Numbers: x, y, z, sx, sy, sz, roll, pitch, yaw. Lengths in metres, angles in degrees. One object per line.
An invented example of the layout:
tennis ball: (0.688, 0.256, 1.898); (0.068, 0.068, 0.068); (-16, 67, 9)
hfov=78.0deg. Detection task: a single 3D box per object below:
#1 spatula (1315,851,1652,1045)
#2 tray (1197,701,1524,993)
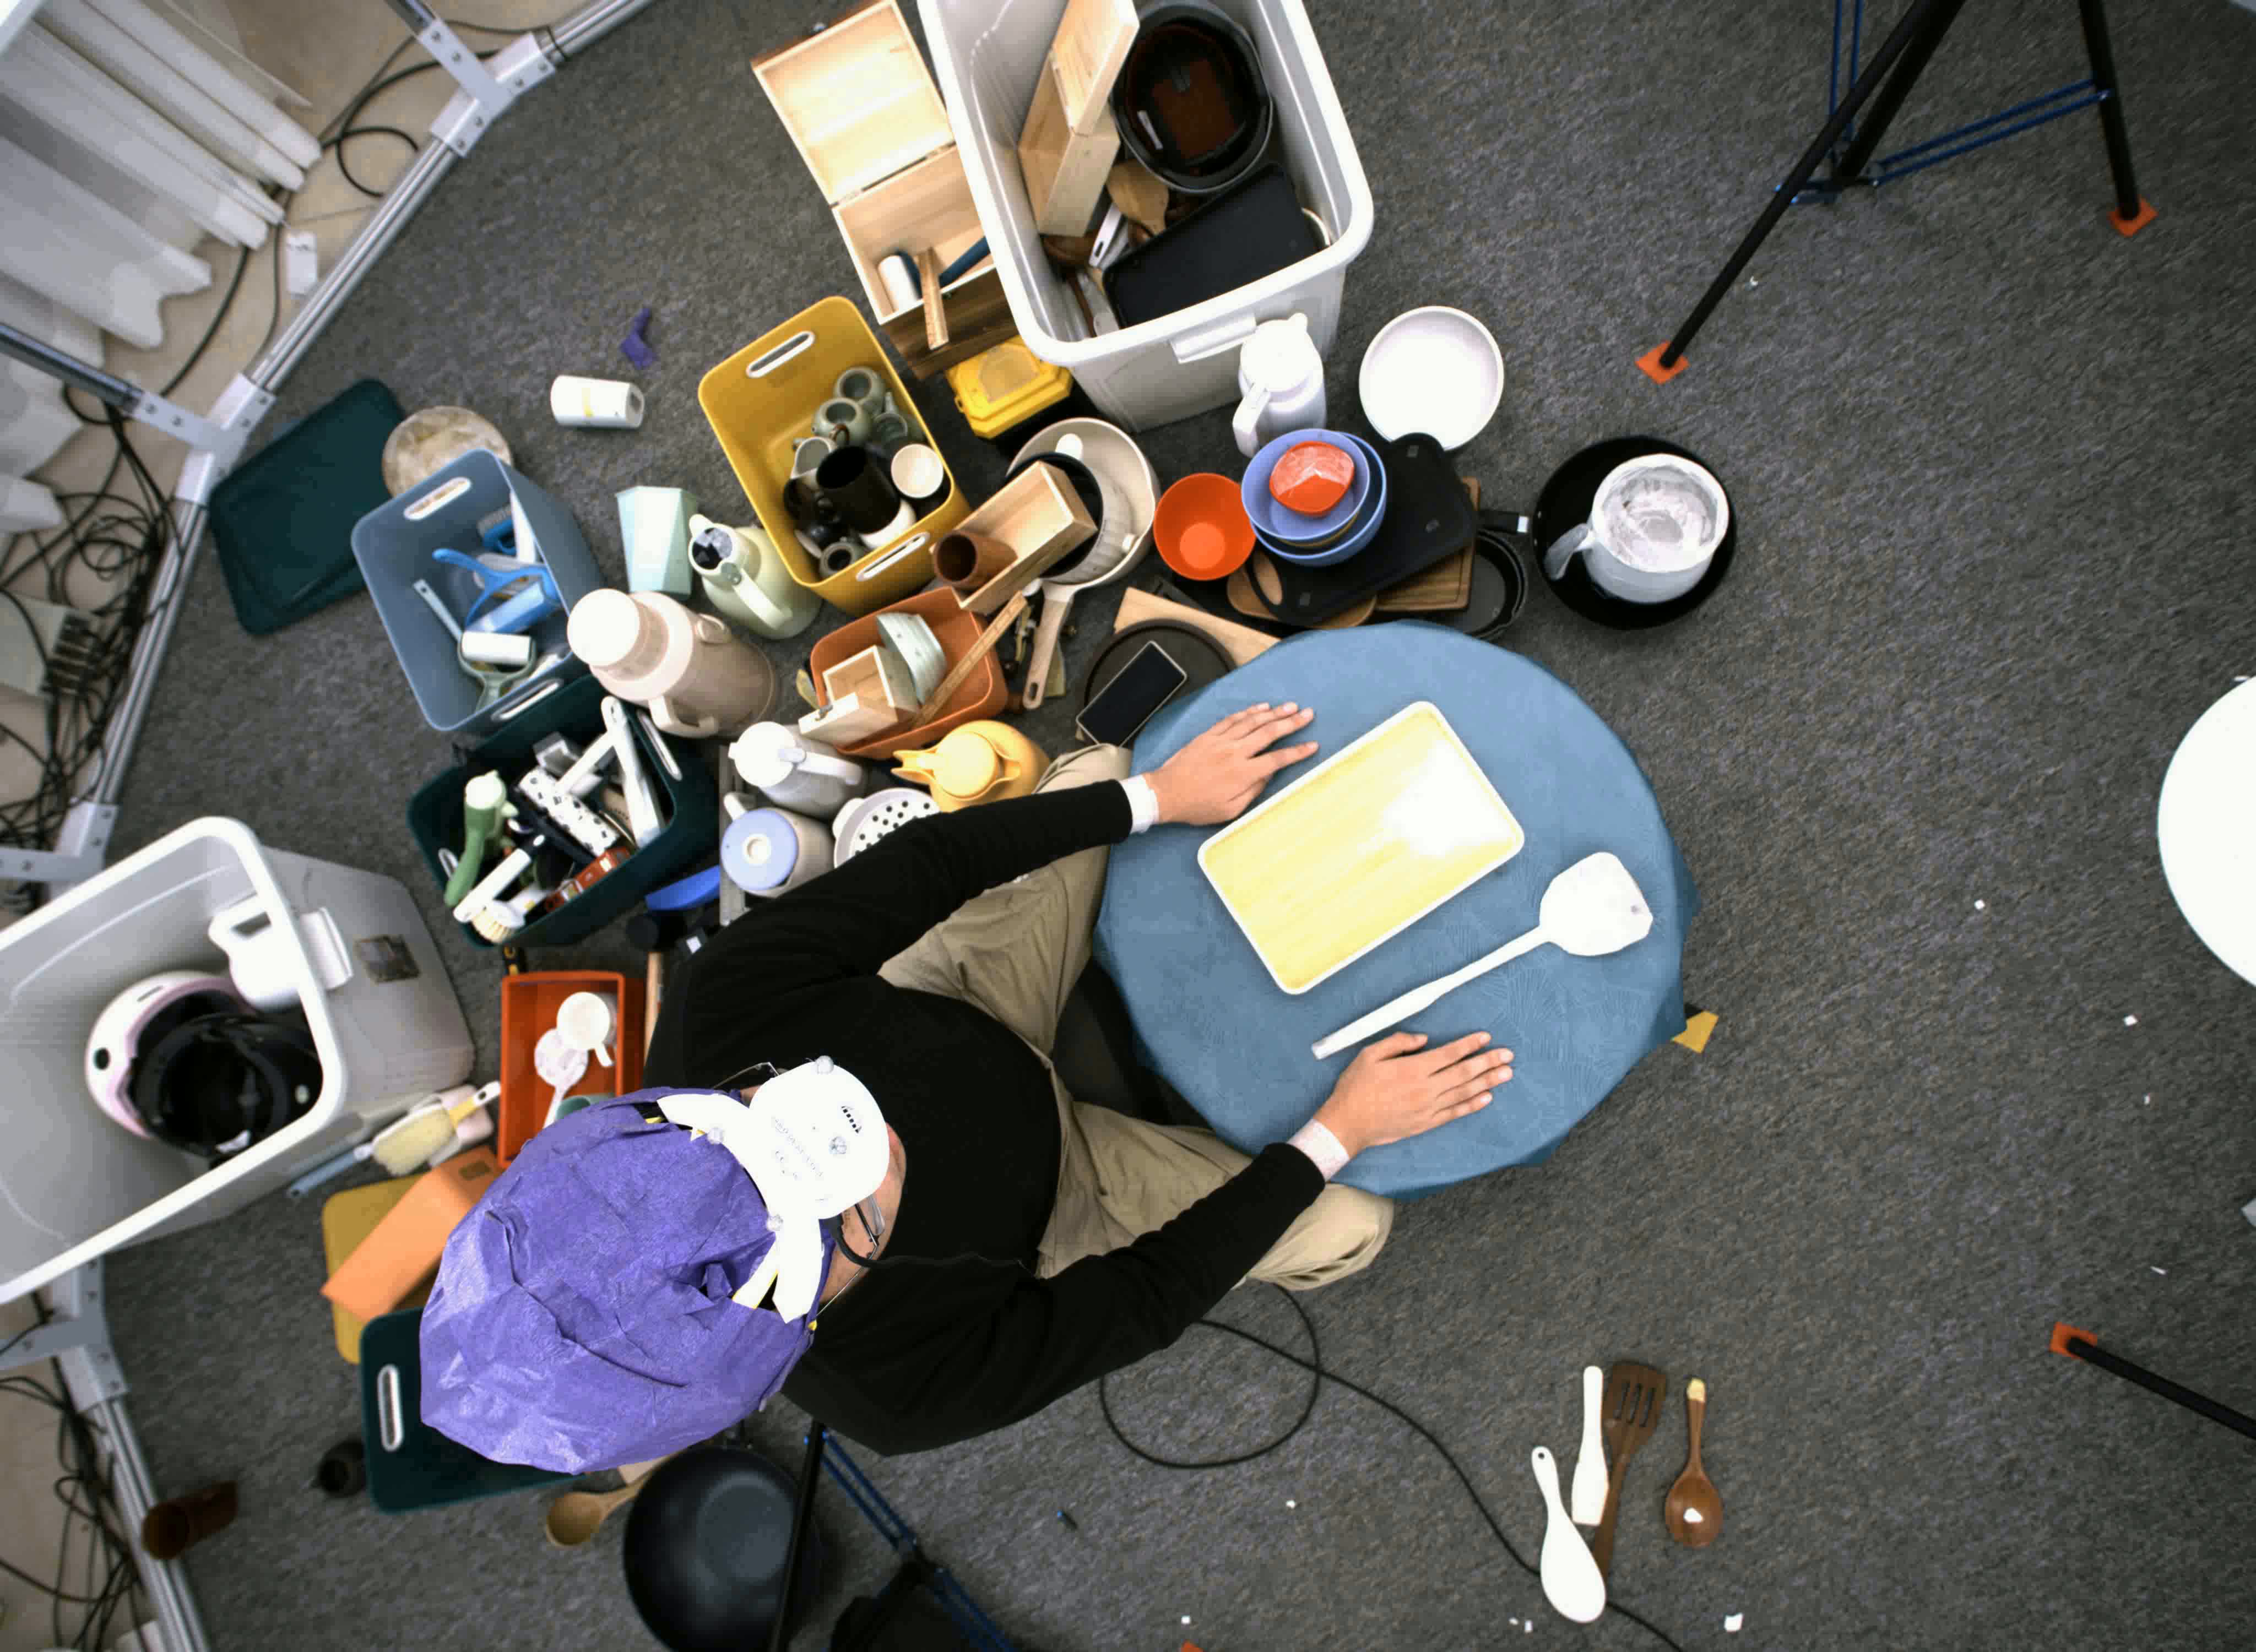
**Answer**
spatula: (0.358, 0.143, 1.420); (0.367, 0.045, 0.098); (-28, 82, 8)
tray: (0.242, 0.022, 1.454); (0.302, 0.027, 0.190); (-34, 82, 7)
